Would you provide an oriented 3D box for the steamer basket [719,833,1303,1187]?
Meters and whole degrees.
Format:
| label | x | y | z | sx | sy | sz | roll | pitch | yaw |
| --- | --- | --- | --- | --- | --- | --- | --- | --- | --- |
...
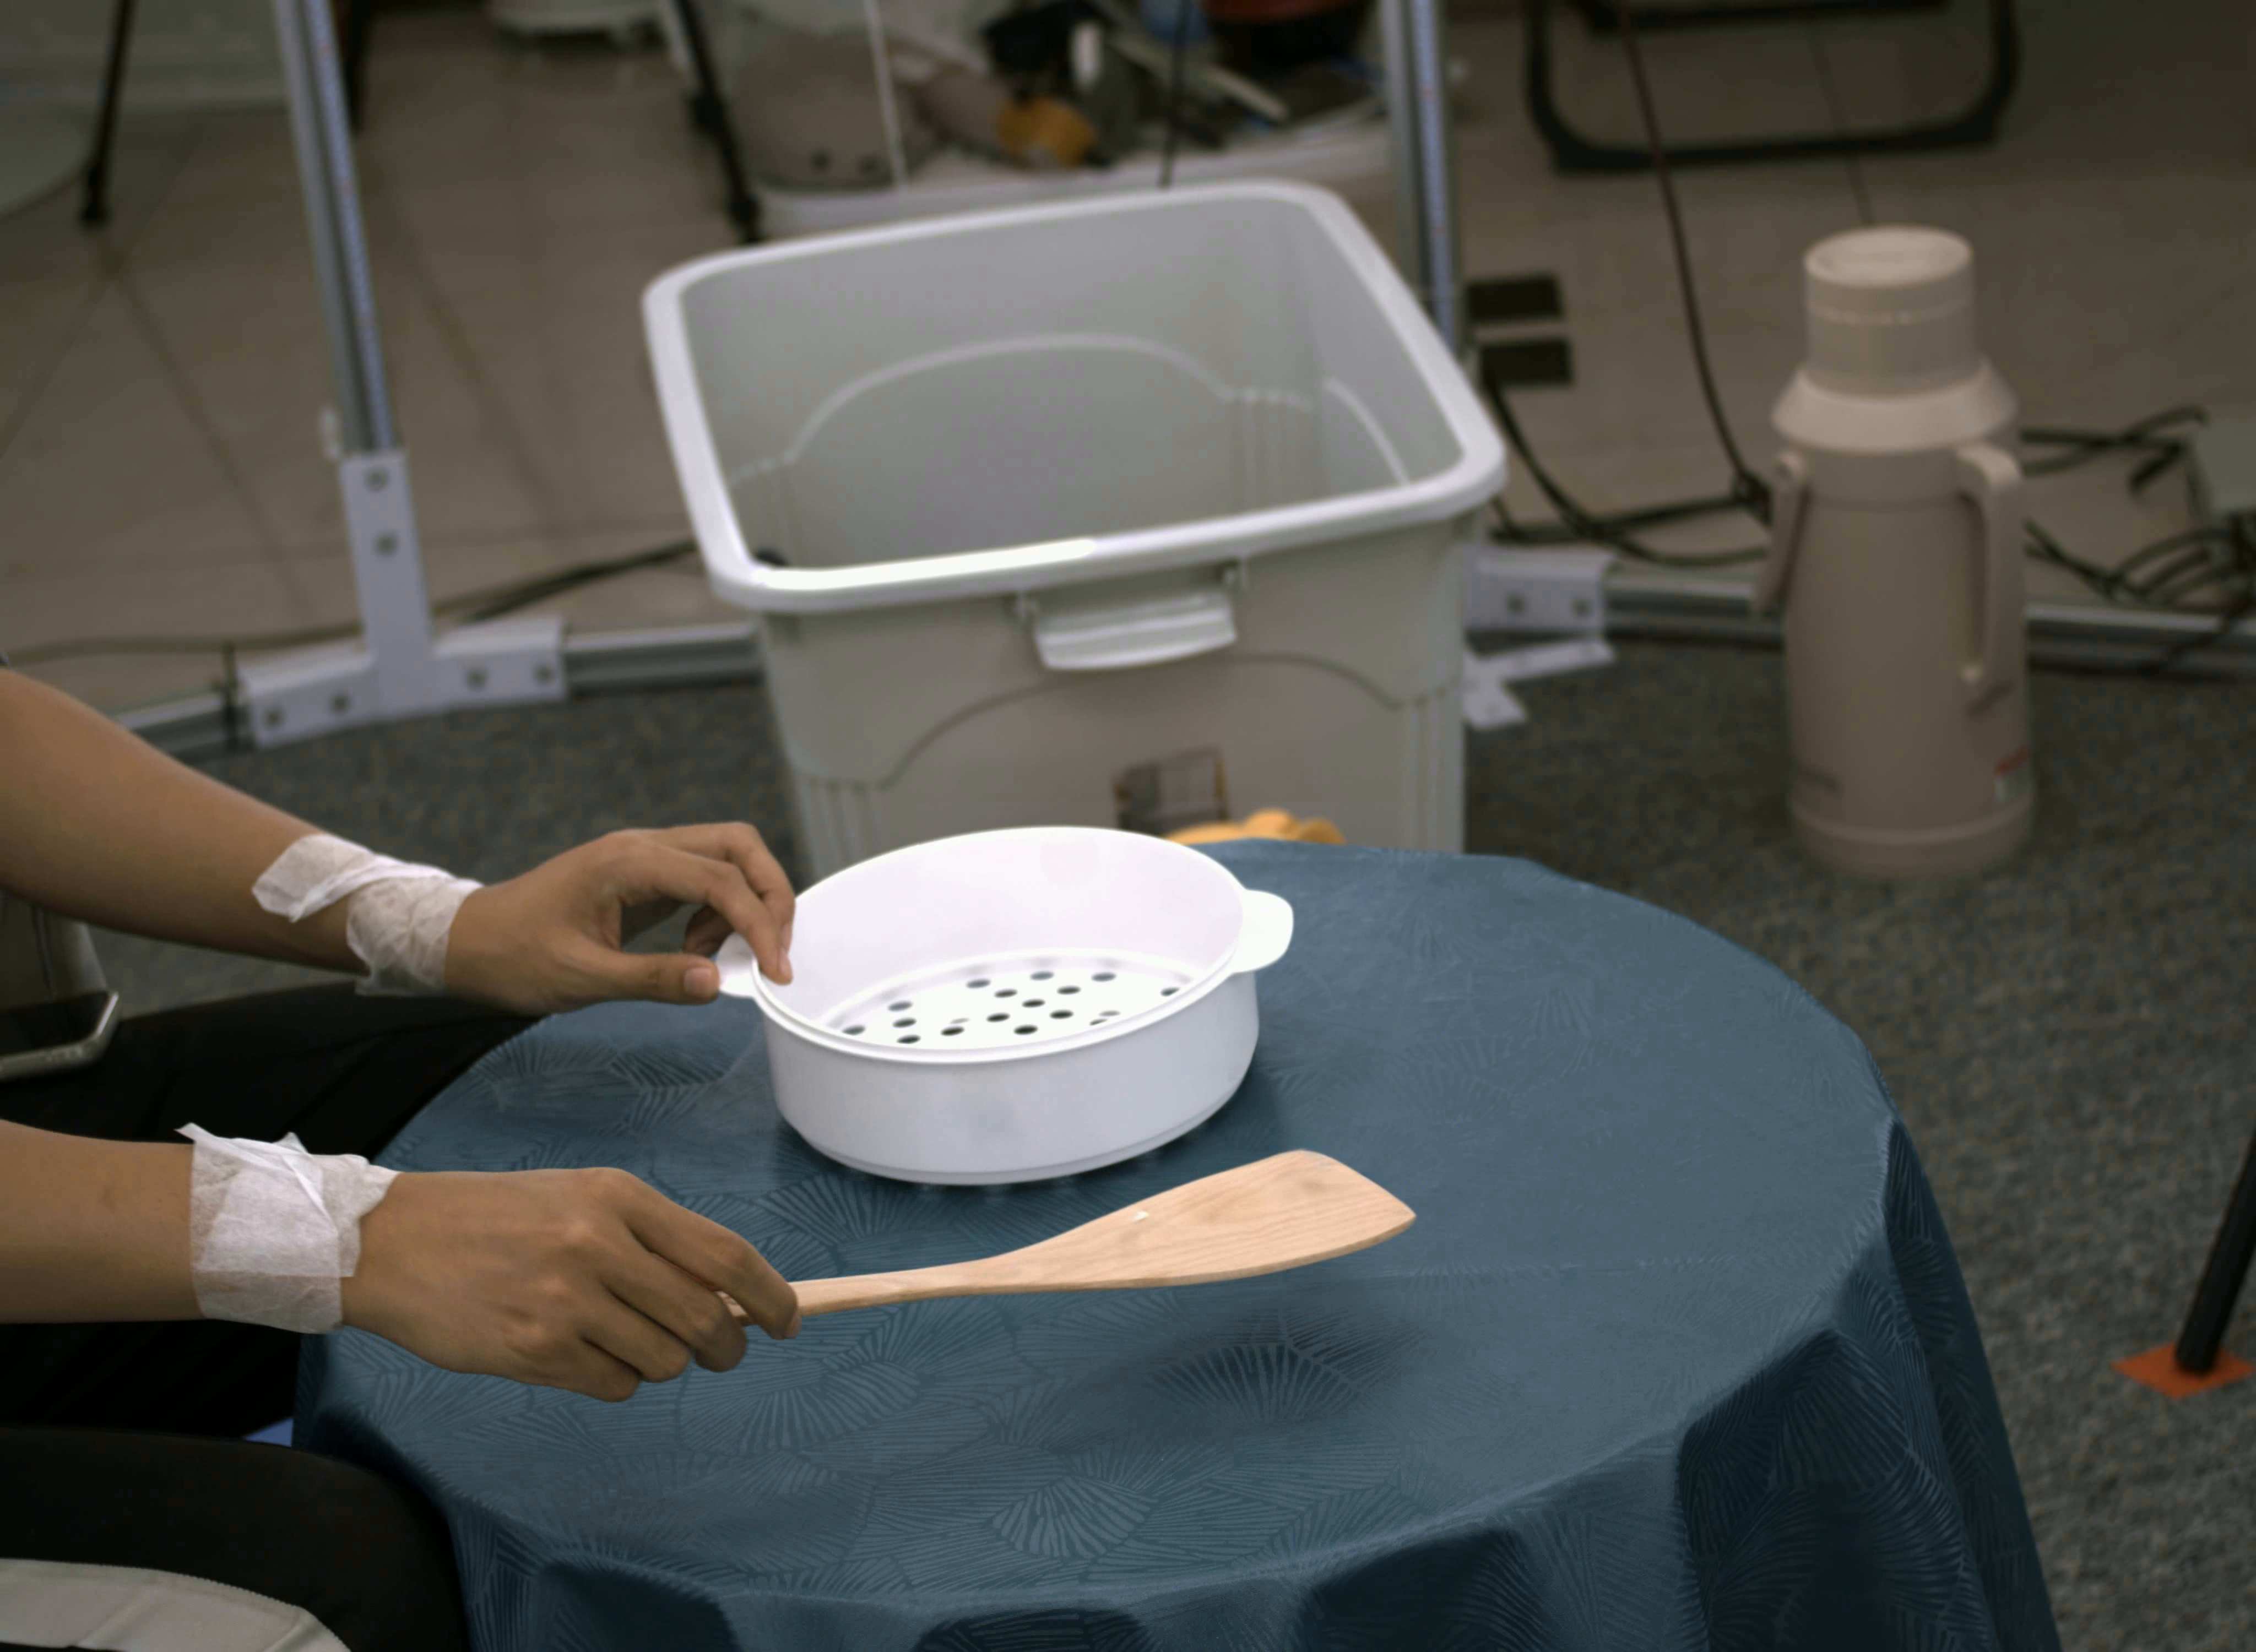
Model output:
| label | x | y | z | sx | sy | sz | roll | pitch | yaw |
| --- | --- | --- | --- | --- | --- | --- | --- | --- | --- |
| steamer basket | -0.043 | 0.072 | 2.226 | 0.230 | 0.070 | 0.199 | -4 | 24 | 9 |

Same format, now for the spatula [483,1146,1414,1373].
| label | x | y | z | sx | sy | sz | roll | pitch | yaw |
| --- | --- | --- | --- | --- | --- | --- | --- | --- | --- |
| spatula | -0.064 | 0.153 | 1.970 | 0.327 | 0.017 | 0.079 | -8 | 22 | -17 |
